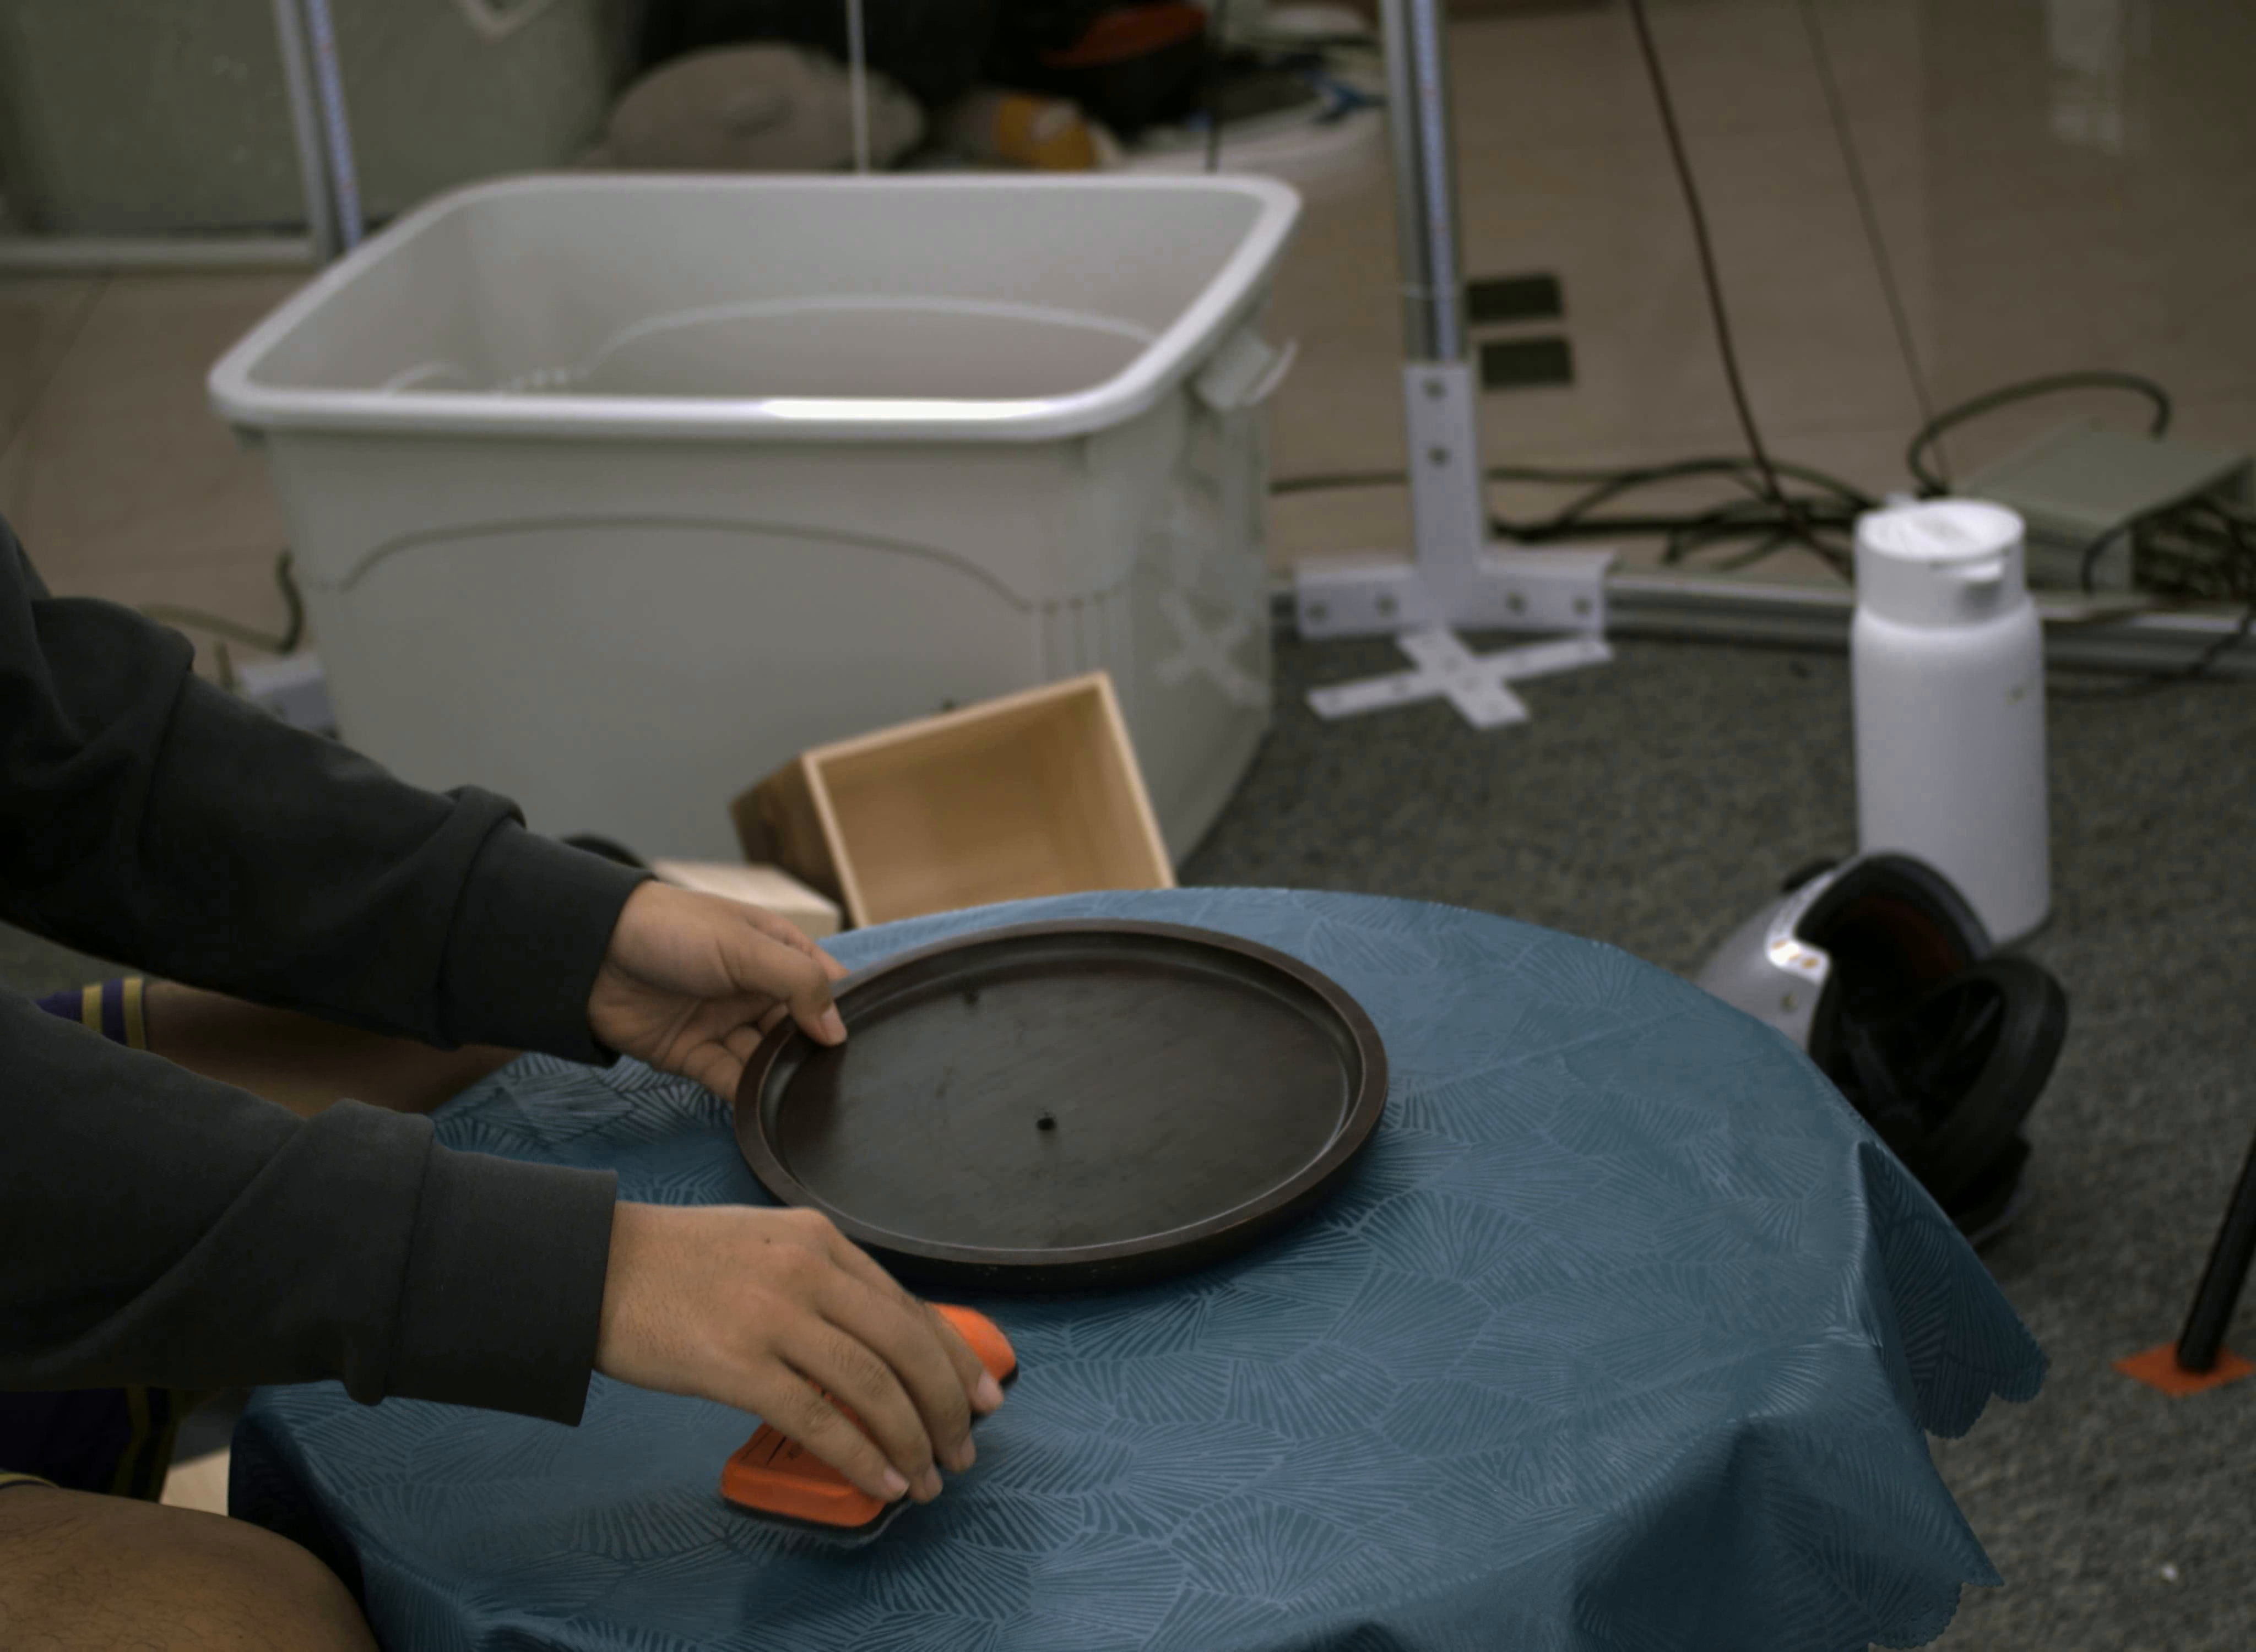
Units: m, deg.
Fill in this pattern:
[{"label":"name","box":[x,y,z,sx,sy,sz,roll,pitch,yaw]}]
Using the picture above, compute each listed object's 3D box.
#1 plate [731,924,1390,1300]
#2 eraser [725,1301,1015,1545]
[{"label":"plate","box":[-0.026,0.108,2.173,0.254,0.029,0.250,-3,31,2]},{"label":"eraser","box":[-0.088,0.205,1.956,0.059,0.023,0.106,7,35,33]}]
